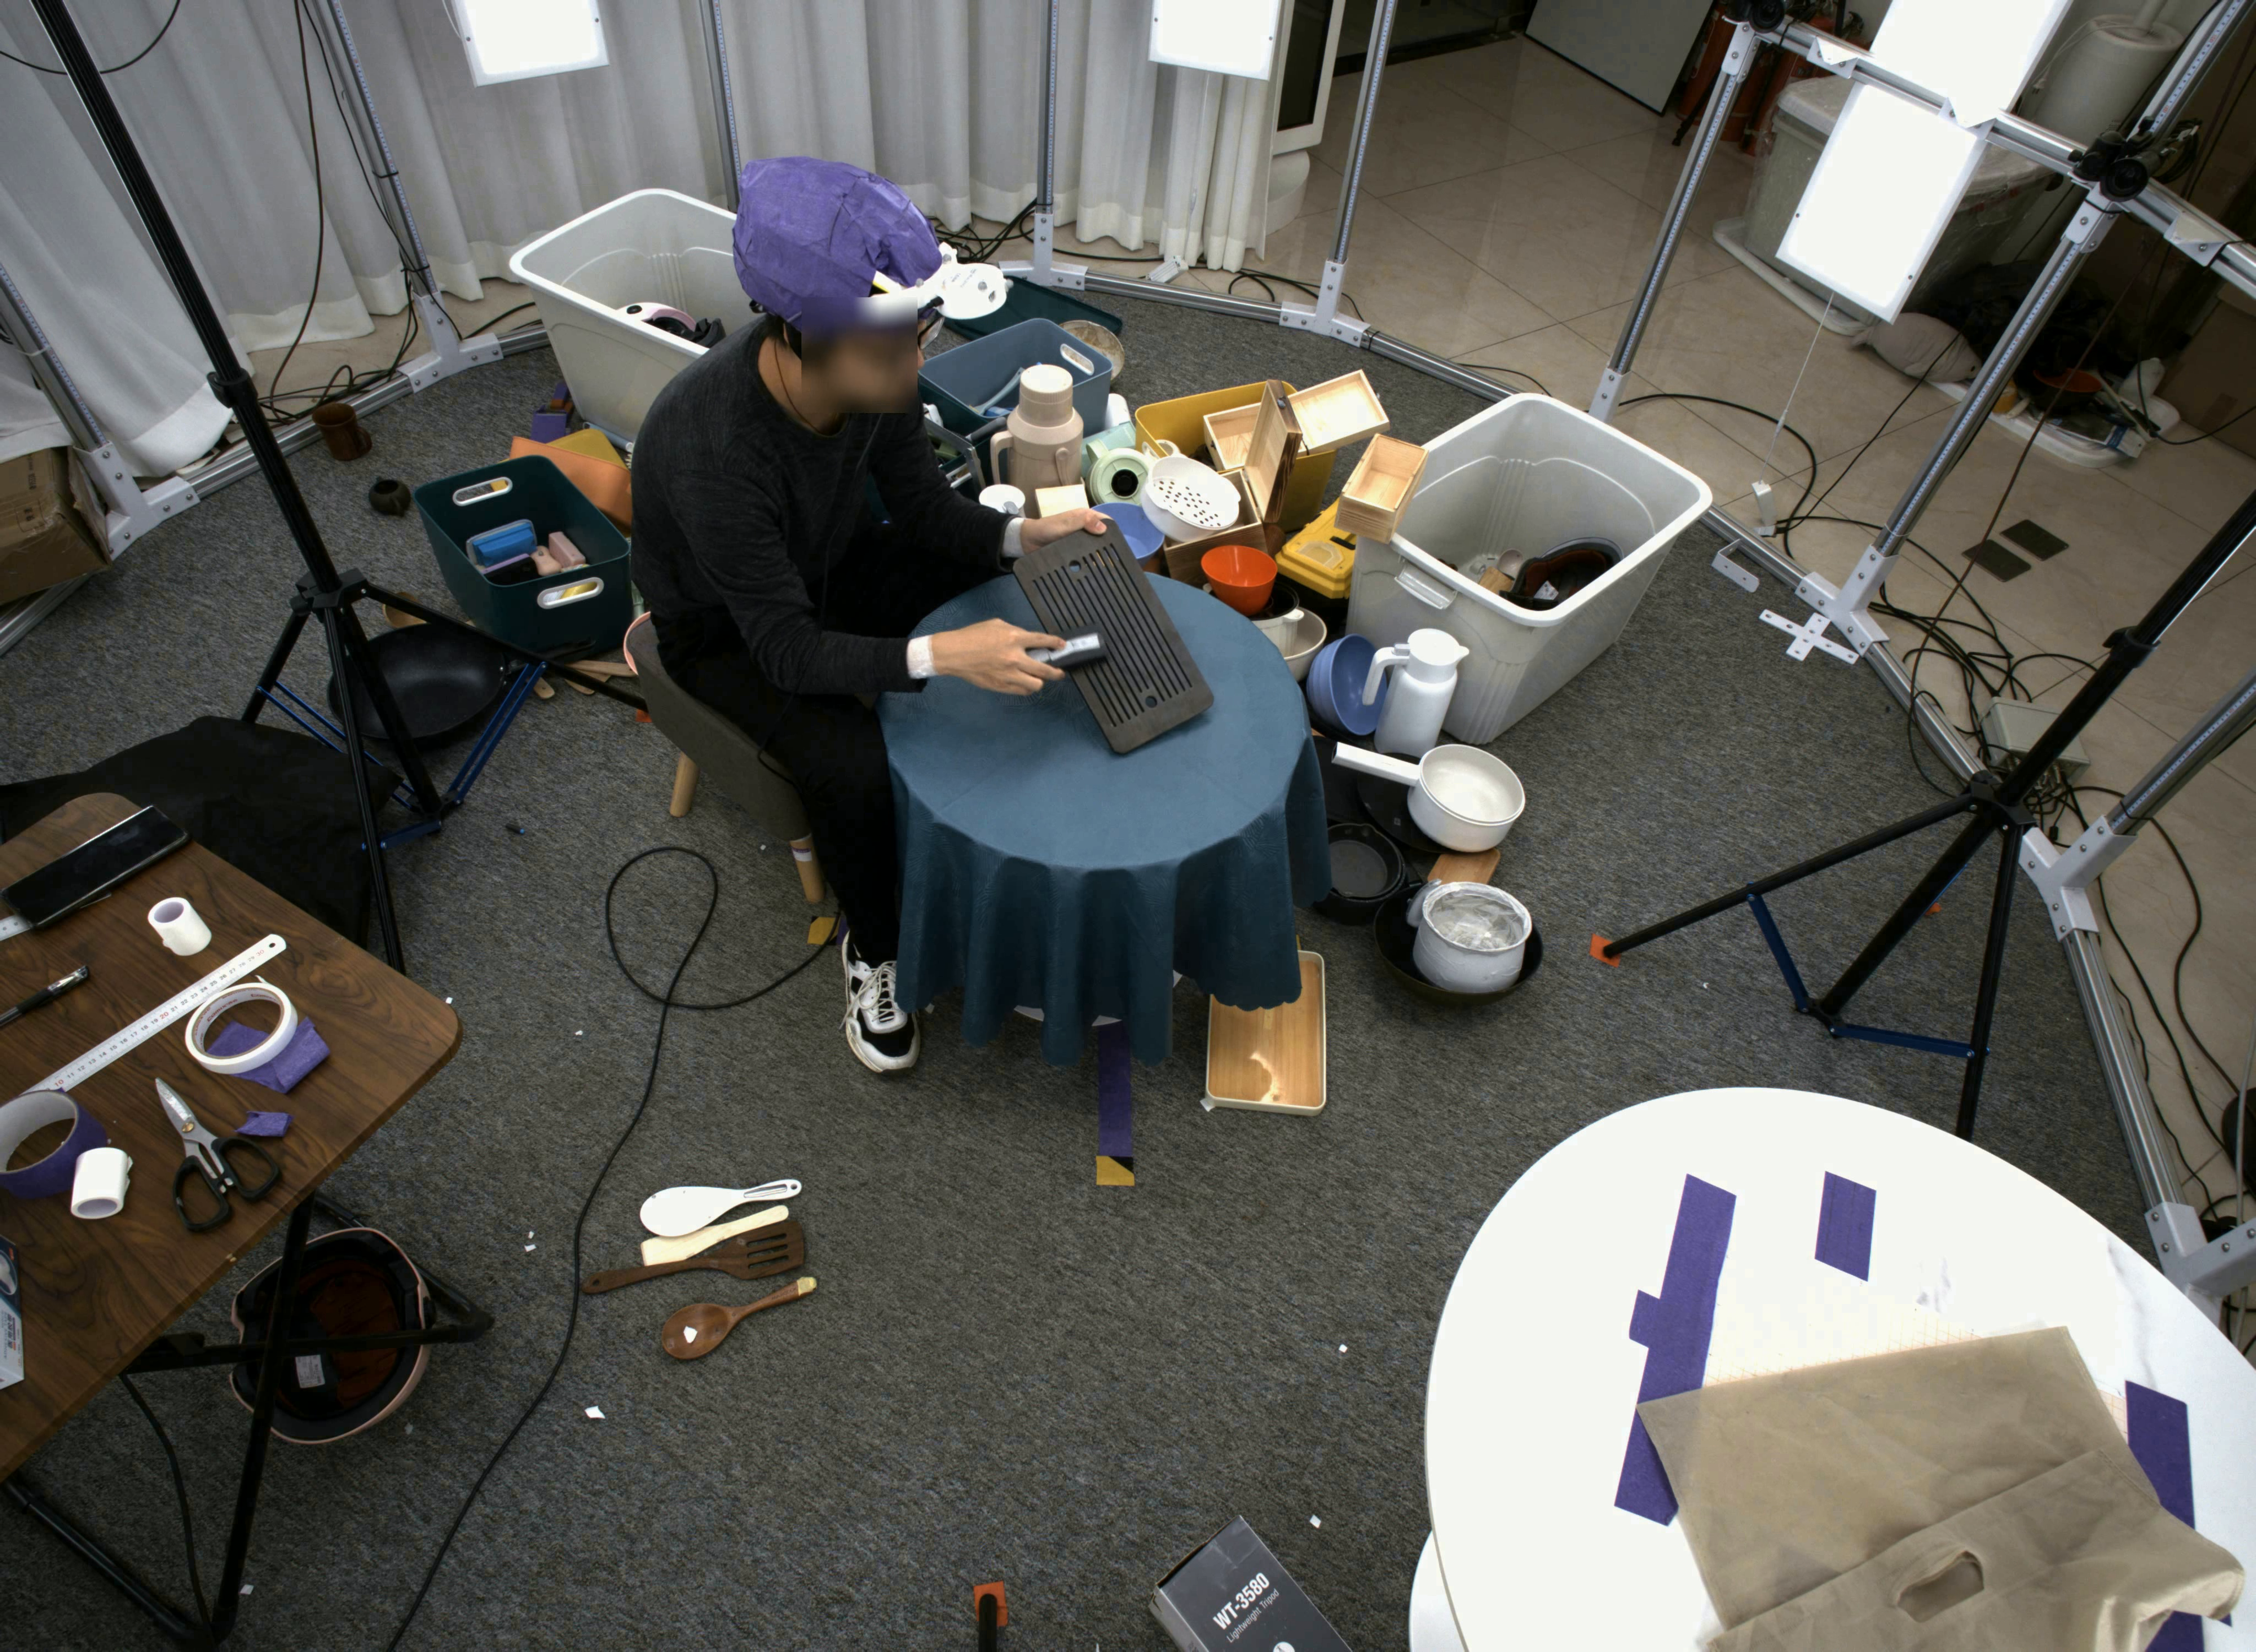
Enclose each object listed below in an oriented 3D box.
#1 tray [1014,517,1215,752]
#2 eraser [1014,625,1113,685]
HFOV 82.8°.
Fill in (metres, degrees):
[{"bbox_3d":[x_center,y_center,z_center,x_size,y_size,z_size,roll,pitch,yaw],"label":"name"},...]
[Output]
[{"bbox_3d":[-0.018,-0.268,1.787,0.171,0.018,0.306,-28,87,-19],"label":"tray"},{"bbox_3d":[-0.088,-0.233,1.739,0.125,0.030,0.054,-17,83,-17],"label":"eraser"}]
